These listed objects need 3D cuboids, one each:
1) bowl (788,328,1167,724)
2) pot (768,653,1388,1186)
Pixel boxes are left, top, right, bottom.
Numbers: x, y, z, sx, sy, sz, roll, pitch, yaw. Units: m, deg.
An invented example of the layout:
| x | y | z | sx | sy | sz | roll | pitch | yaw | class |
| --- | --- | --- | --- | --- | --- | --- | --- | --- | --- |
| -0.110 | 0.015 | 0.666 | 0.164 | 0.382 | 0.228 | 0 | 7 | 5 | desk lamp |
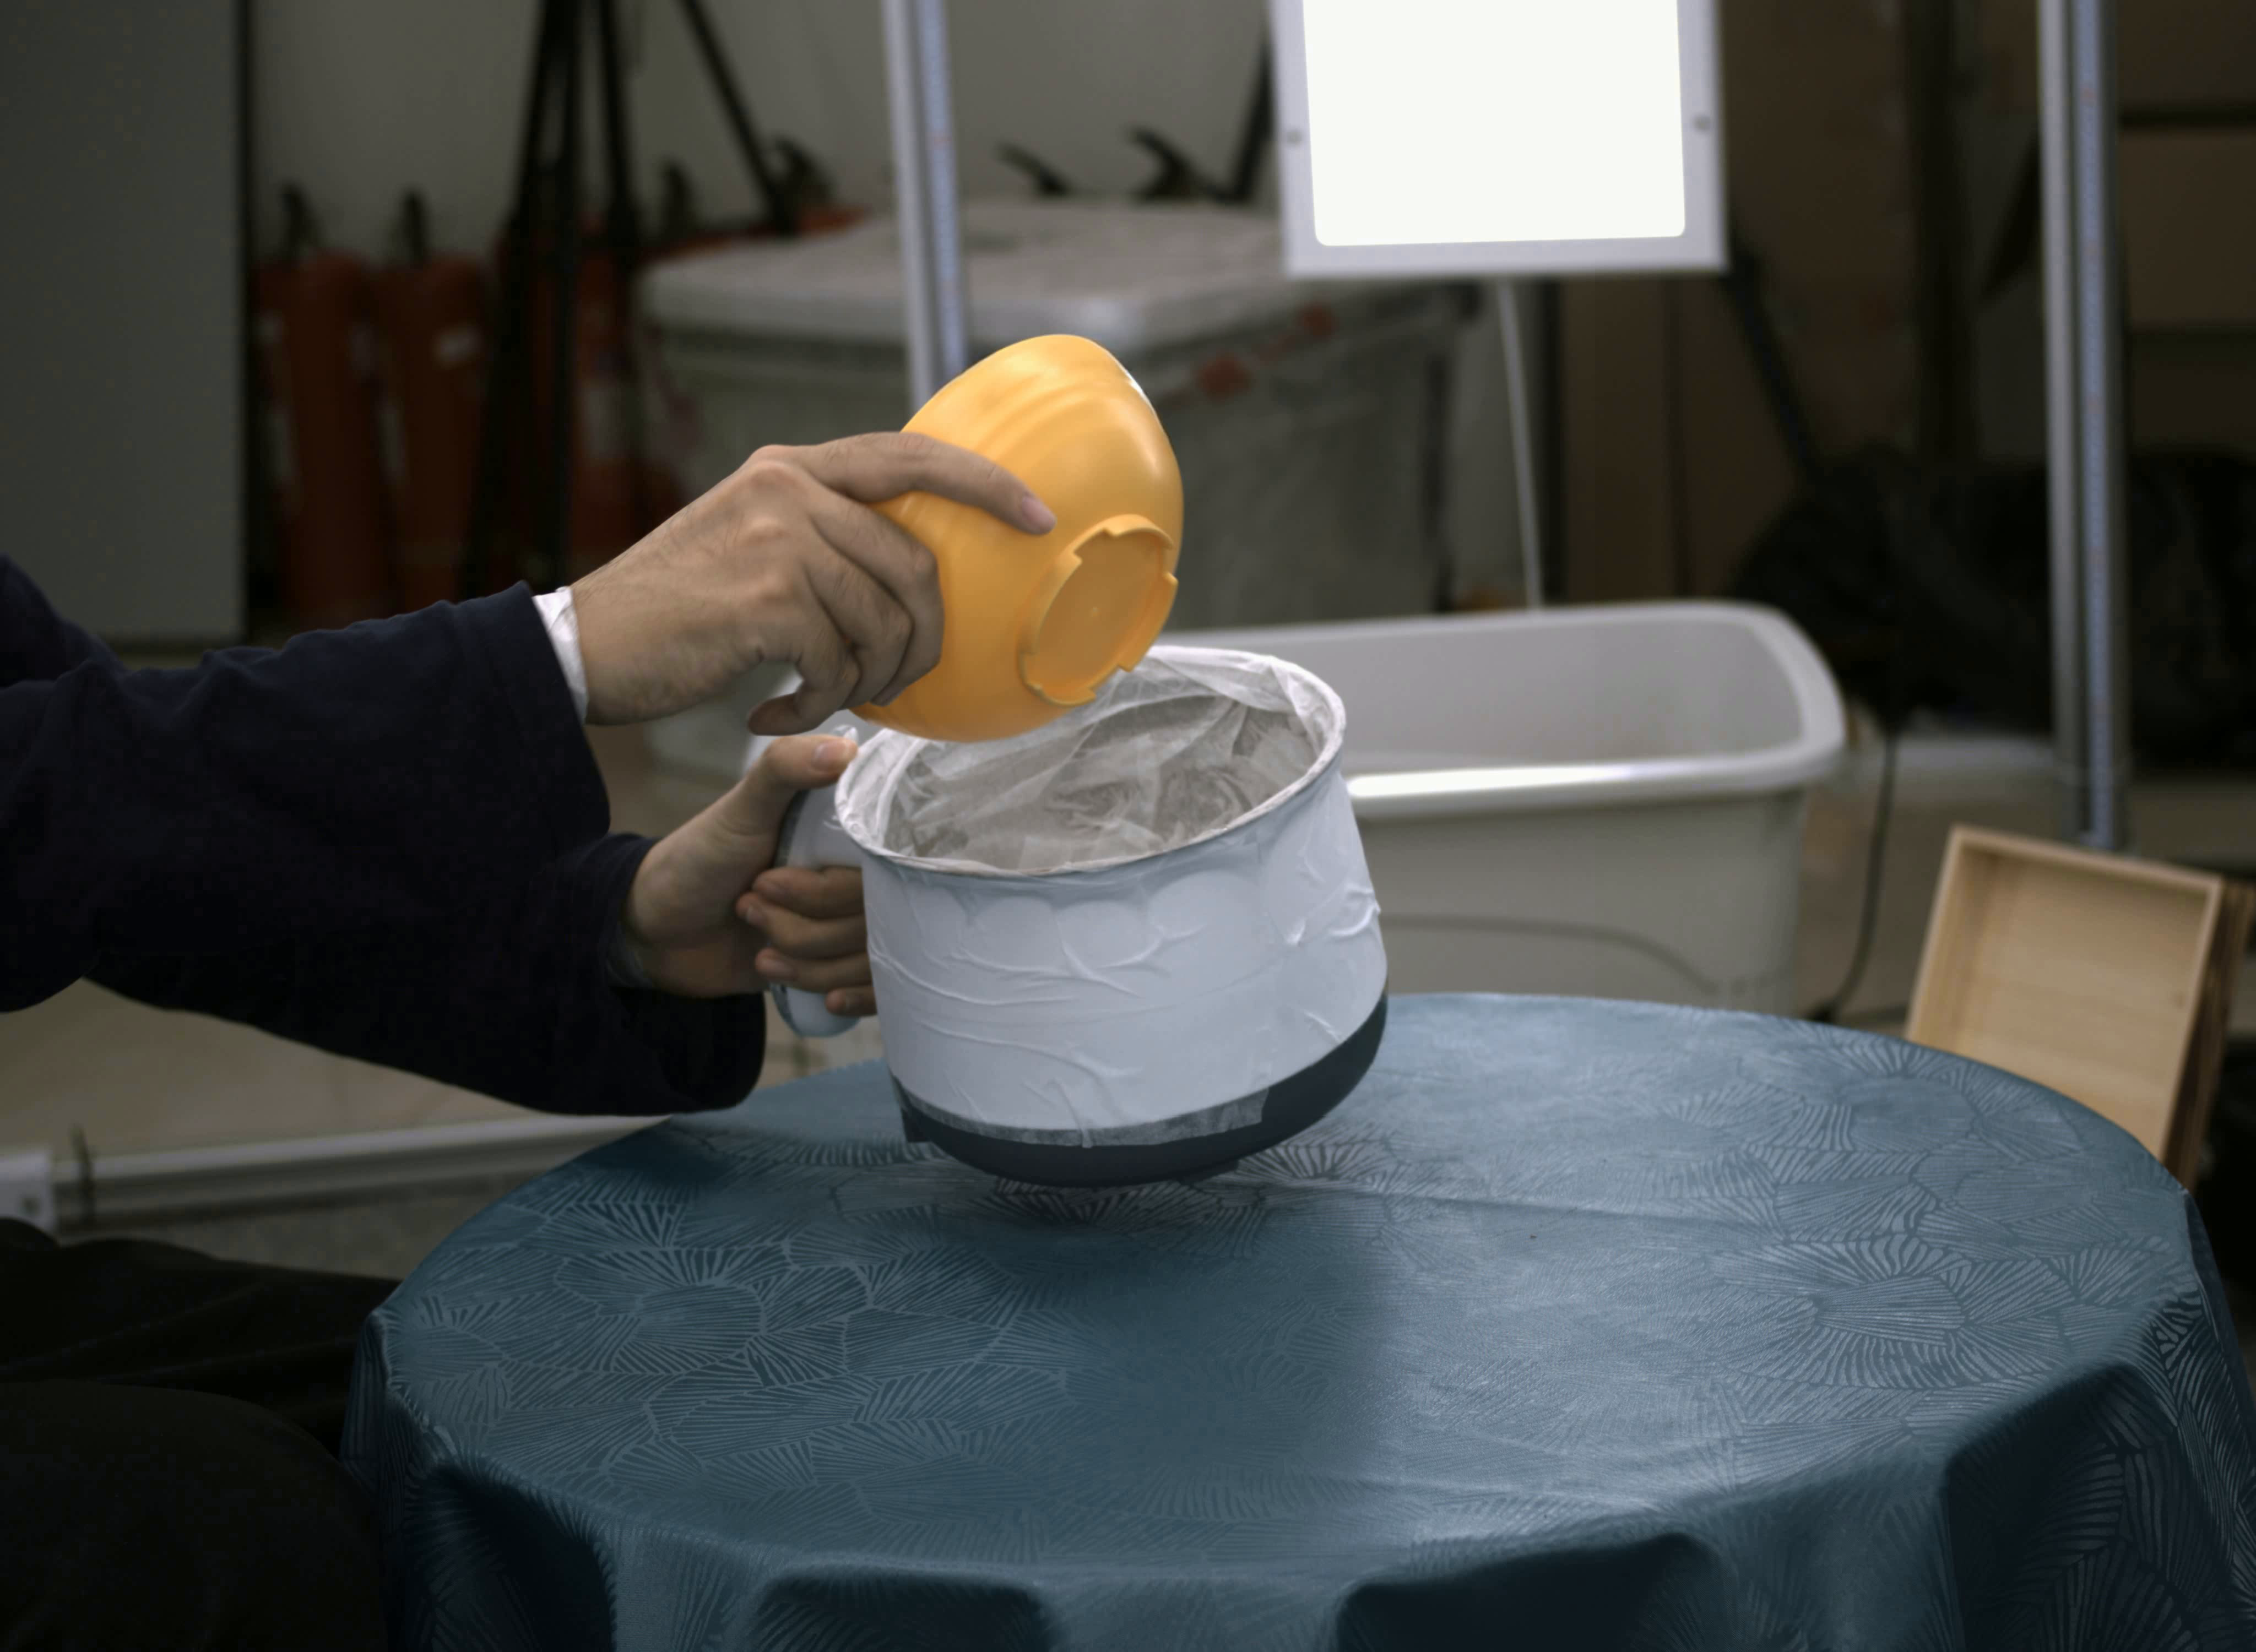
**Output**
| x | y | z | sx | sy | sz | roll | pitch | yaw | class |
| --- | --- | --- | --- | --- | --- | --- | --- | --- | --- |
| -0.035 | -0.084 | 1.768 | 0.141 | 0.147 | 0.061 | -17 | 49 | -41 | bowl |
| -0.026 | 0.032 | 1.907 | 0.238 | 0.137 | 0.175 | 4 | 26 | 29 | pot |
